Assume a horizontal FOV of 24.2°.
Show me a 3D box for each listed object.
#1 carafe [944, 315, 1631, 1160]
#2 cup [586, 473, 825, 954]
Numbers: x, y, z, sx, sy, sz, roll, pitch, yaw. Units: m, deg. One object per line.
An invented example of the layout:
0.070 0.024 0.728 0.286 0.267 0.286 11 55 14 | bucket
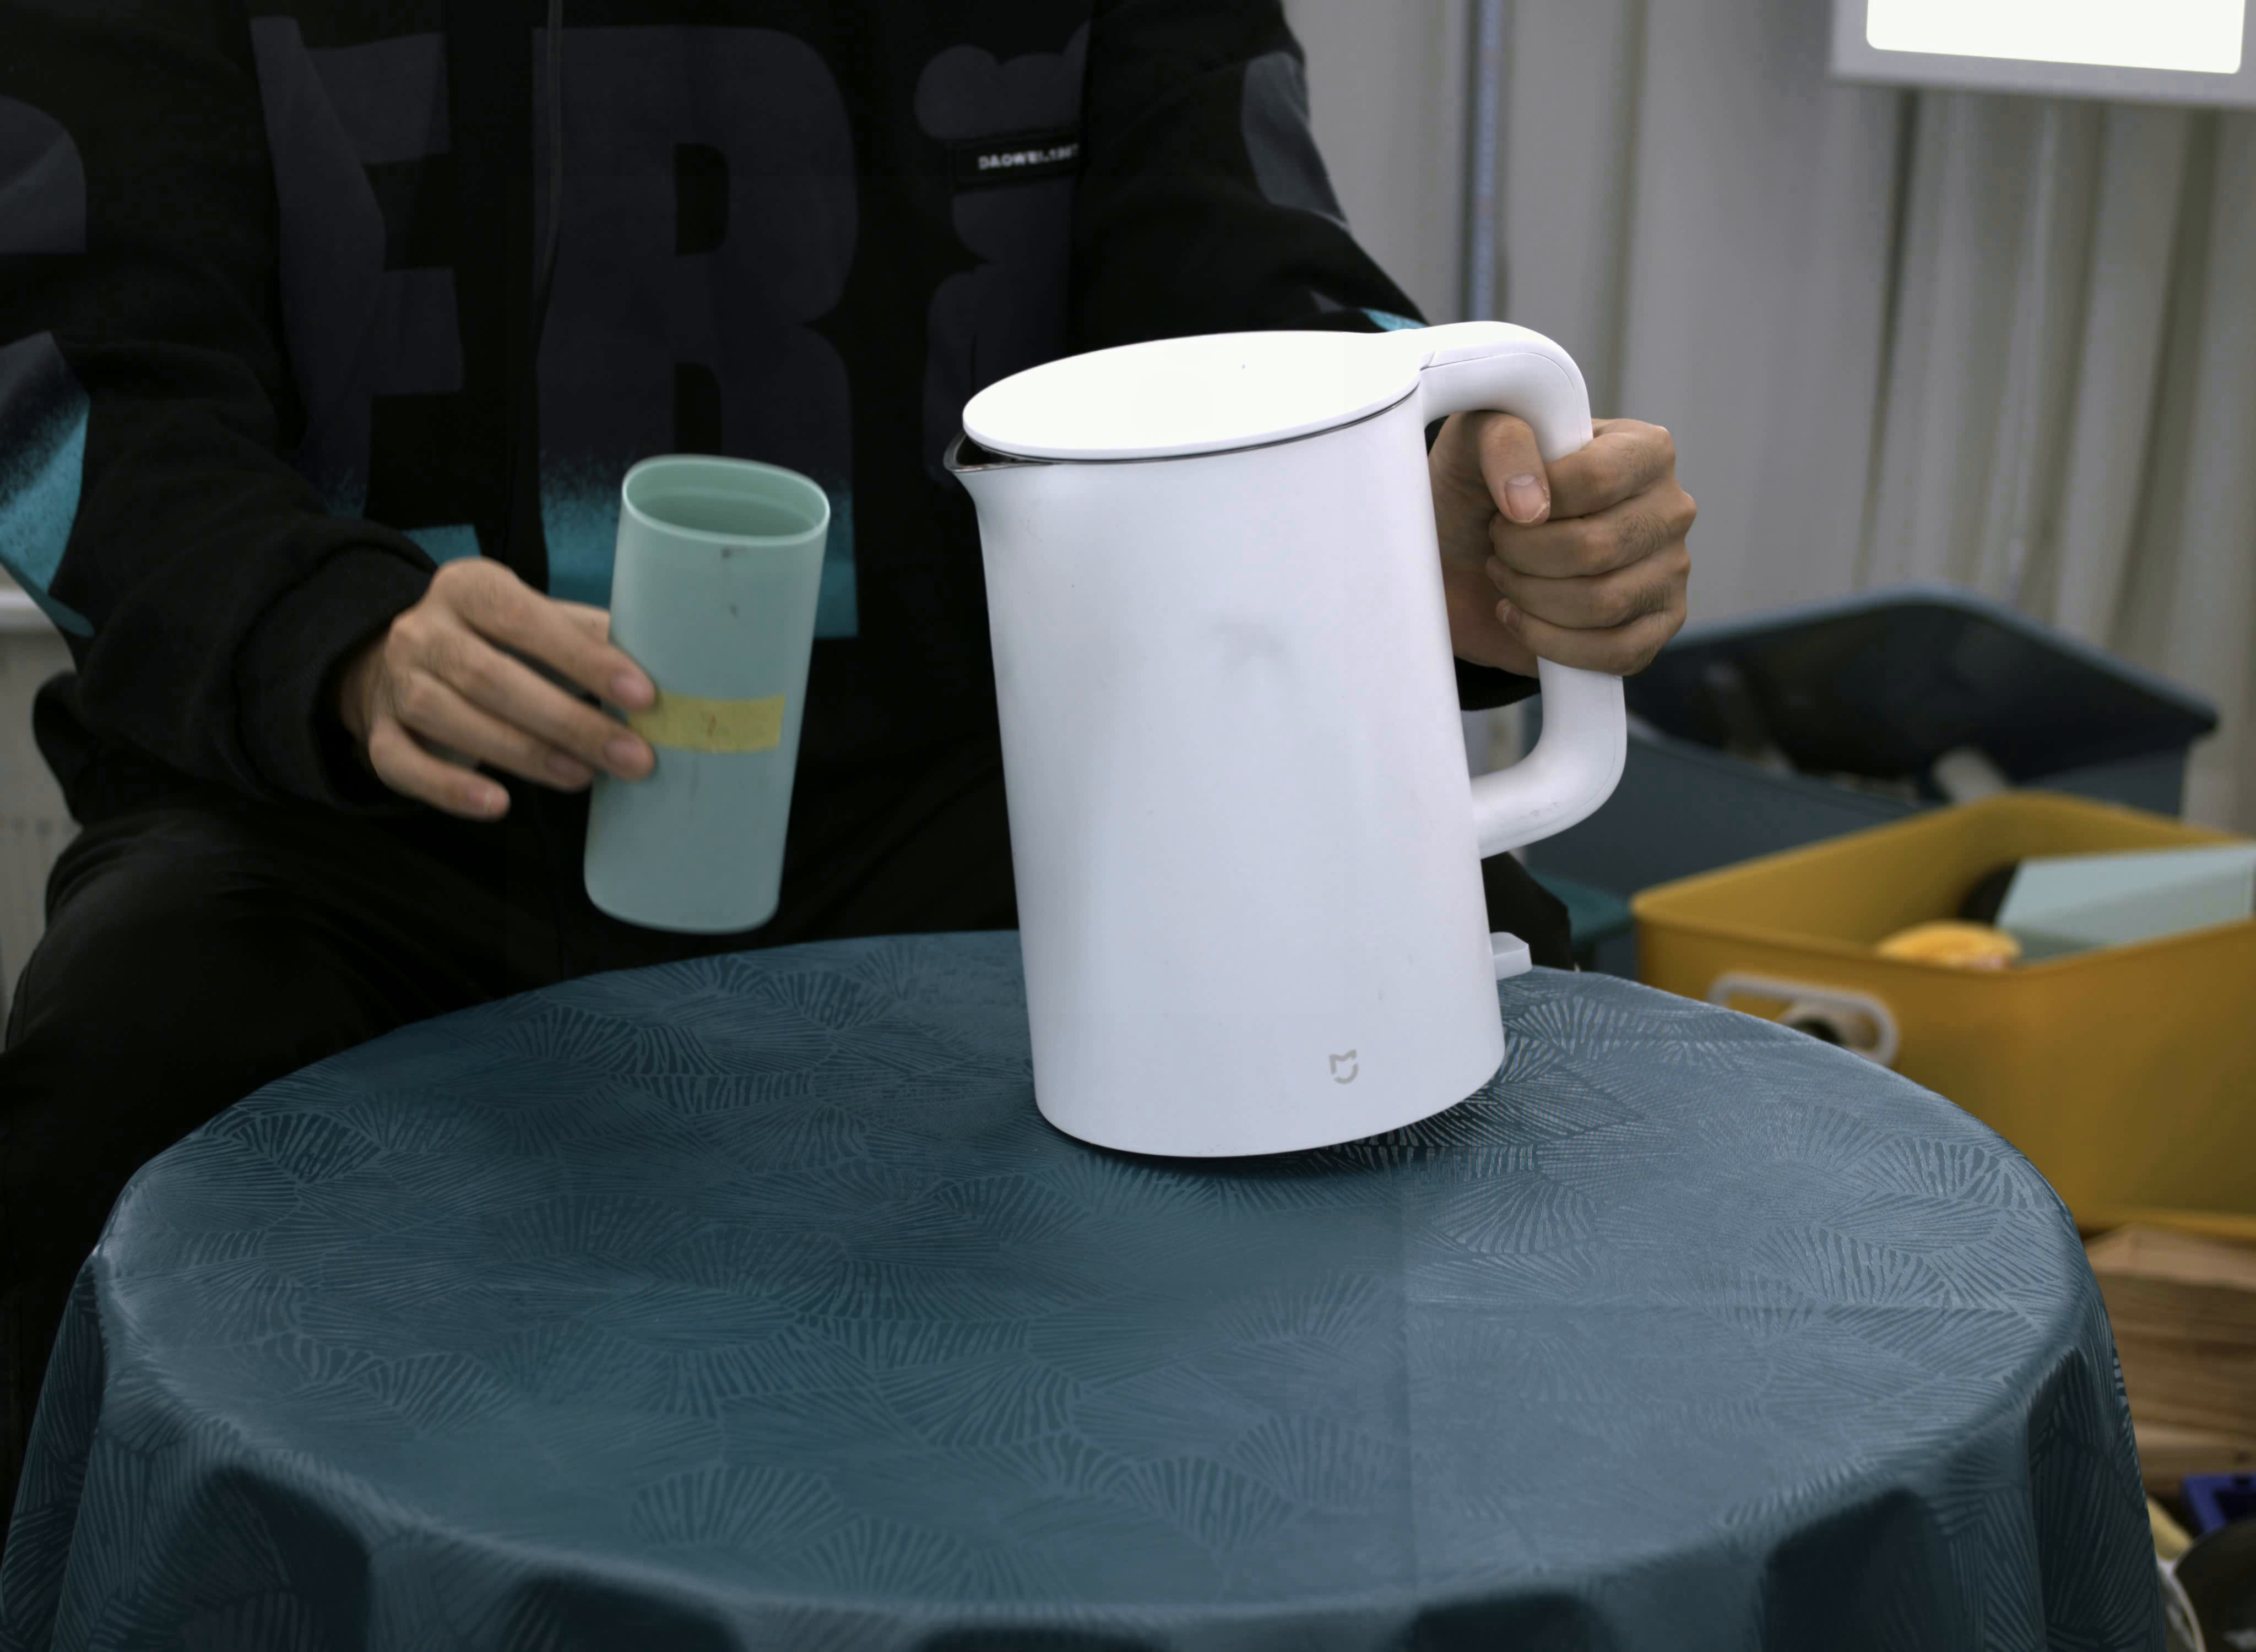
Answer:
0.058 -0.034 1.669 0.213 0.242 0.150 -14 20 -18 | carafe
-0.128 -0.035 1.590 0.066 0.133 0.066 6 26 -3 | cup
